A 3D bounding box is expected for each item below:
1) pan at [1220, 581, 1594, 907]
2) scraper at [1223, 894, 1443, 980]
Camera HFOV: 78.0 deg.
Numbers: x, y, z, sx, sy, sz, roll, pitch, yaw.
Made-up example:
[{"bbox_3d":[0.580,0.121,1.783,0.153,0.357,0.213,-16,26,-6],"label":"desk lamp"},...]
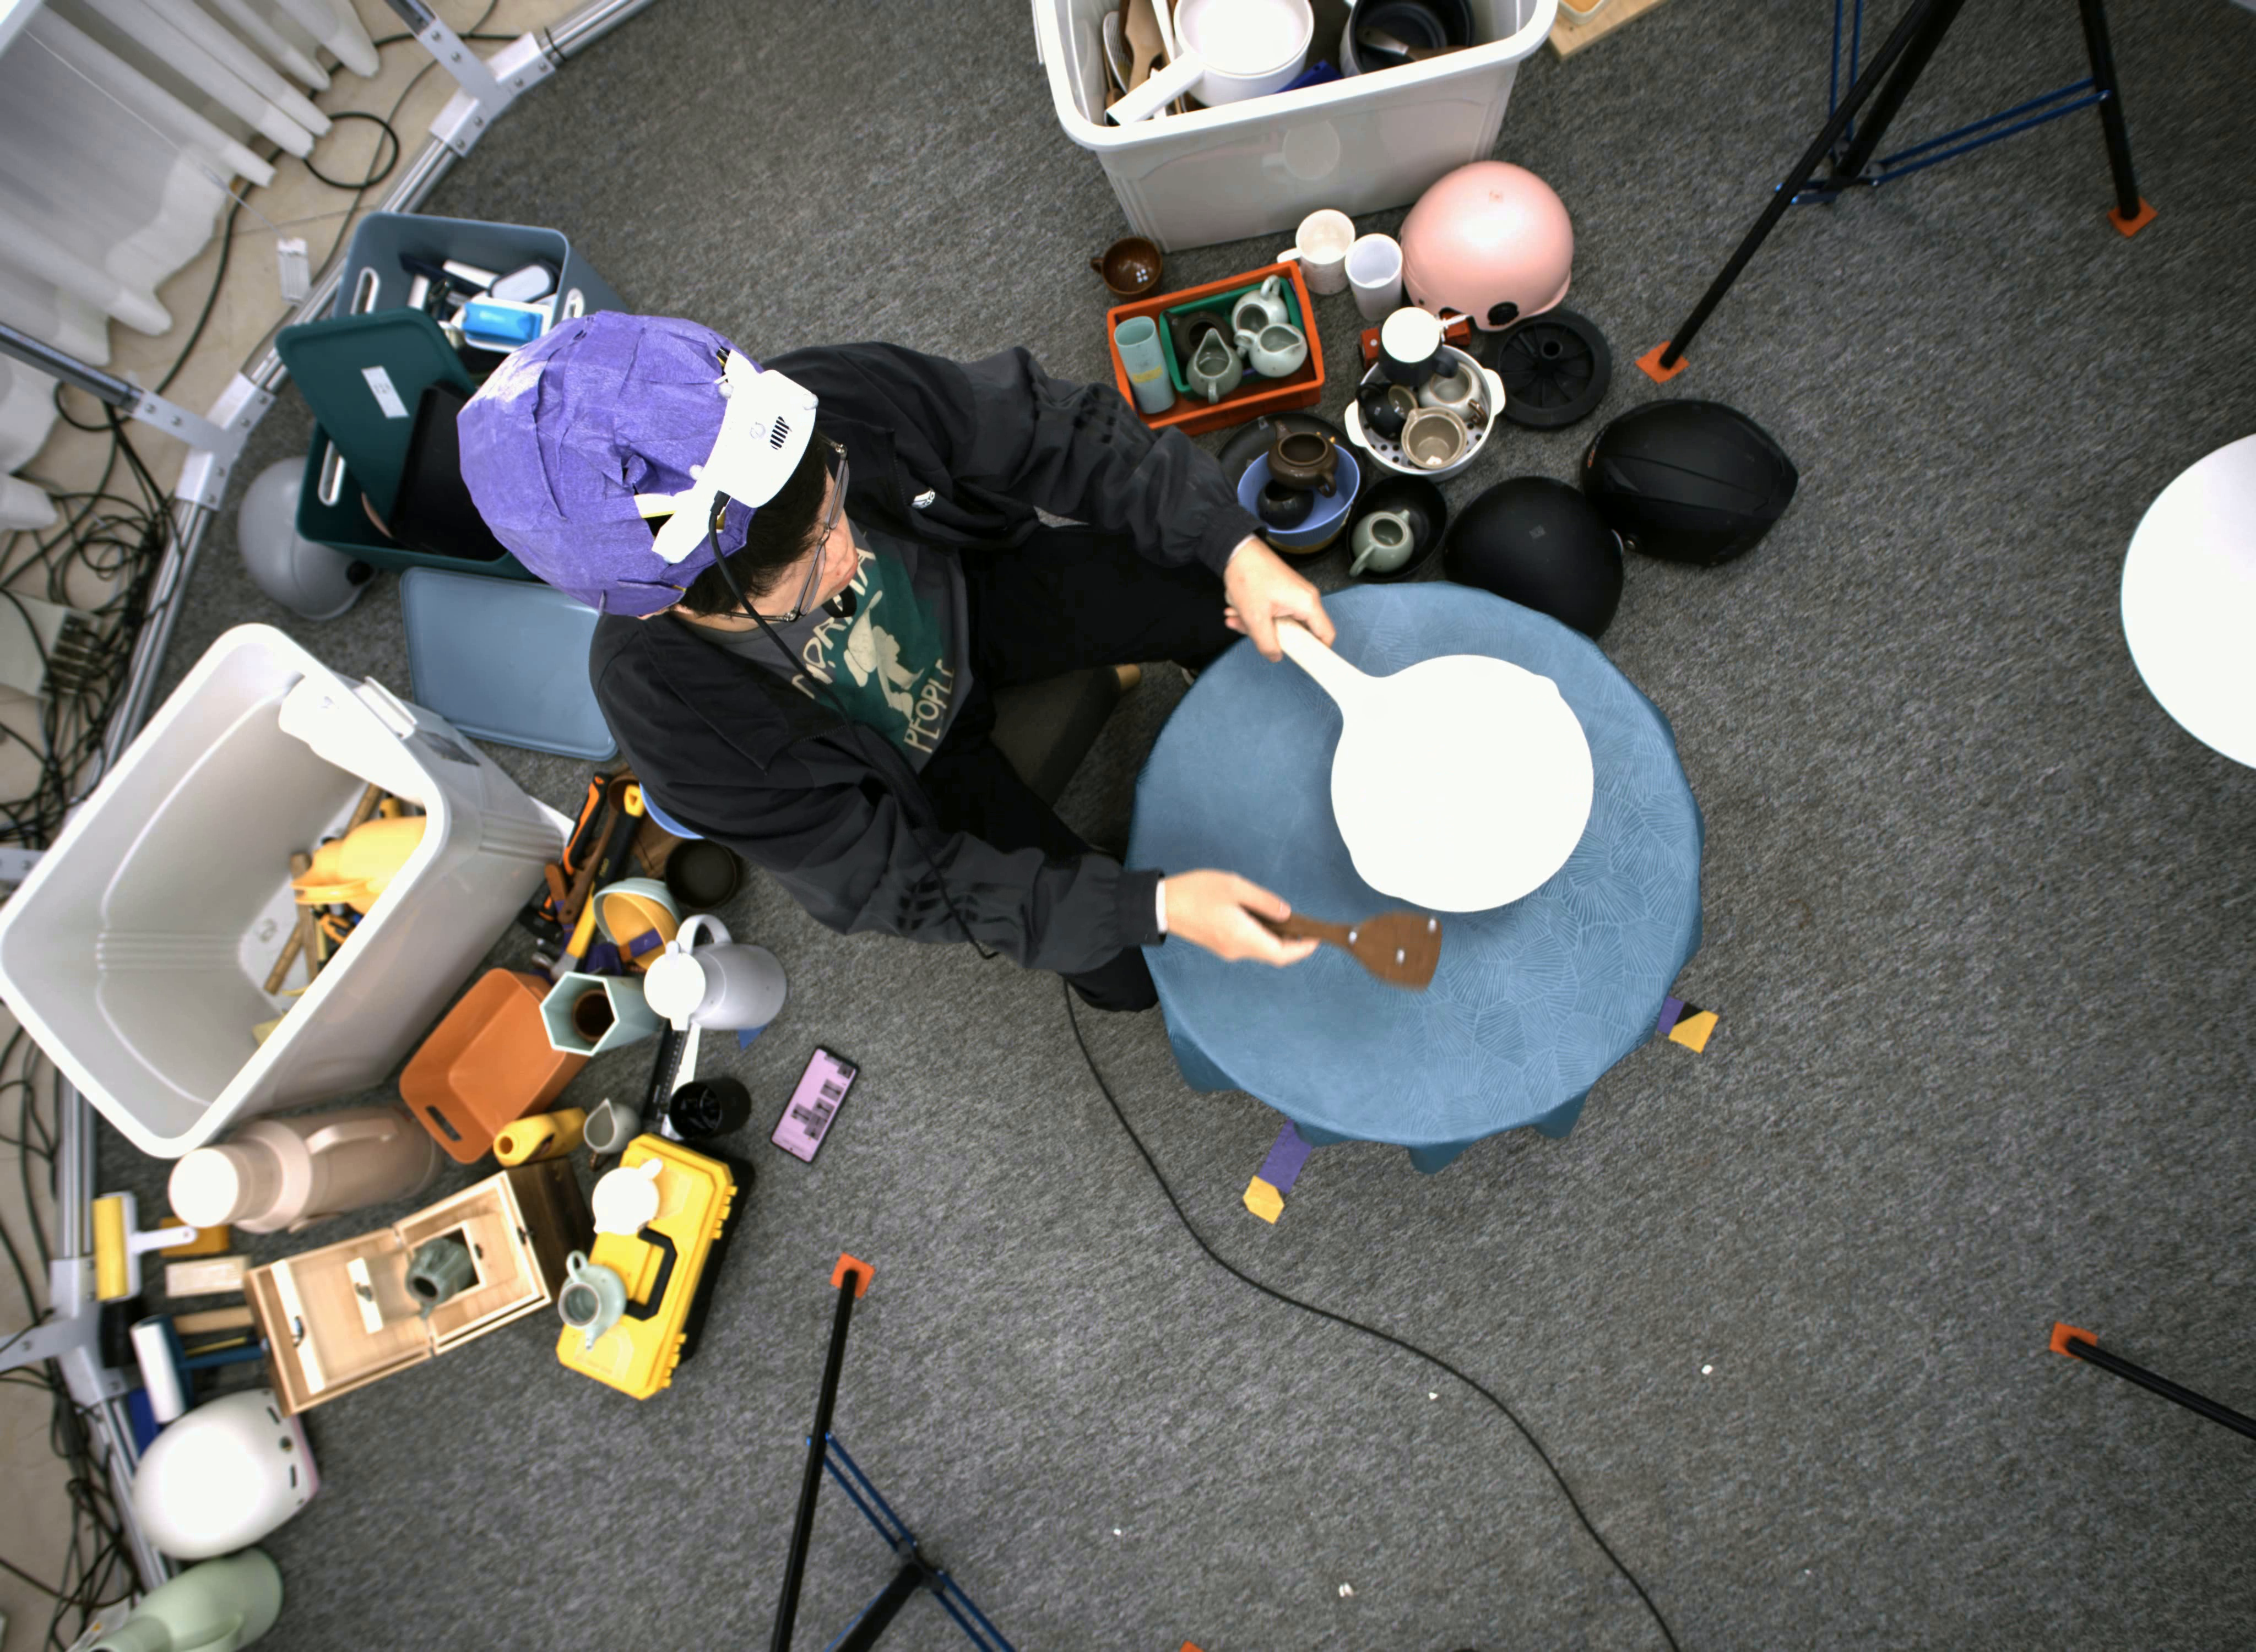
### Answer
[{"bbox_3d":[0.270,-0.106,1.390,0.432,0.101,0.266,43,105,17],"label":"pan"},{"bbox_3d":[0.193,0.094,1.319,0.212,0.011,0.074,10,70,19],"label":"scraper"}]
